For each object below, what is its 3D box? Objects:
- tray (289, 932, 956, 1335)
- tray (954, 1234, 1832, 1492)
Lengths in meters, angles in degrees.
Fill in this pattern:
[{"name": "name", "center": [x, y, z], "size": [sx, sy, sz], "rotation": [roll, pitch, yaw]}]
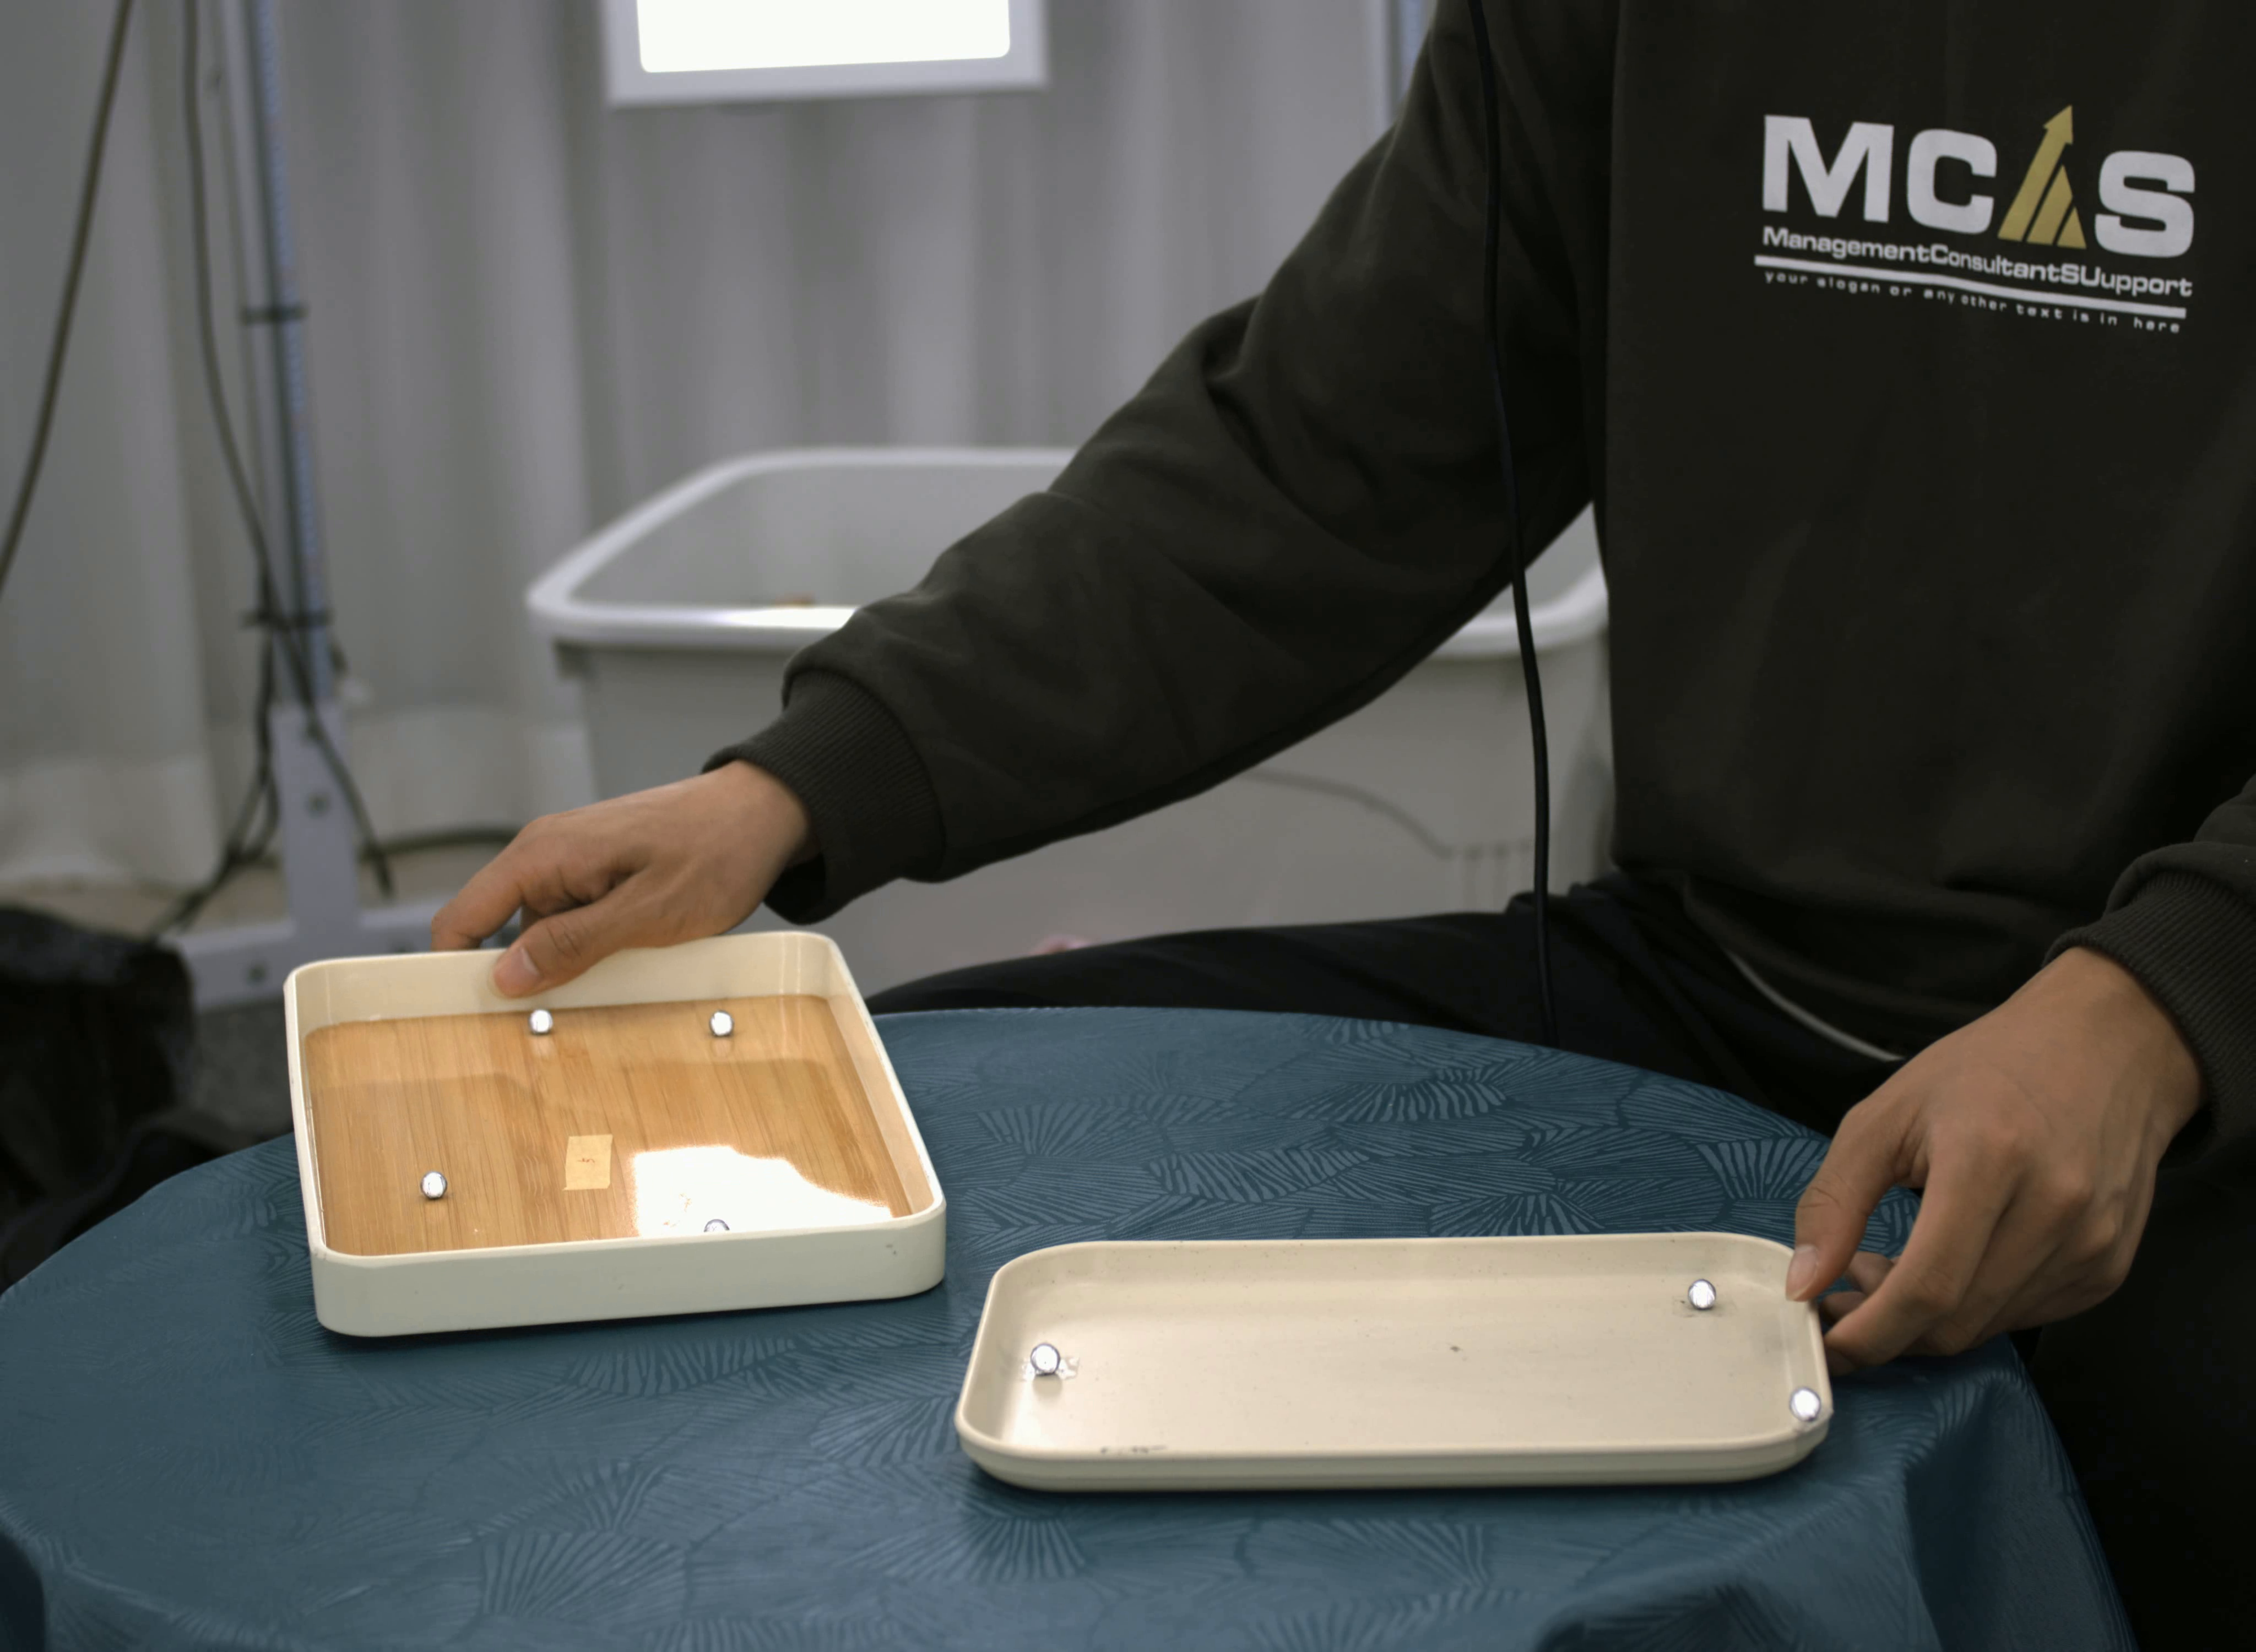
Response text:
[{"name": "tray", "center": [-0.168, 0.094, 1.753], "size": [0.191, 0.027, 0.303], "rotation": [-3, 16, -9]}, {"name": "tray", "center": [0.074, 0.151, 1.535], "size": [0.239, 0.017, 0.172], "rotation": [-1, 14, 4]}]
